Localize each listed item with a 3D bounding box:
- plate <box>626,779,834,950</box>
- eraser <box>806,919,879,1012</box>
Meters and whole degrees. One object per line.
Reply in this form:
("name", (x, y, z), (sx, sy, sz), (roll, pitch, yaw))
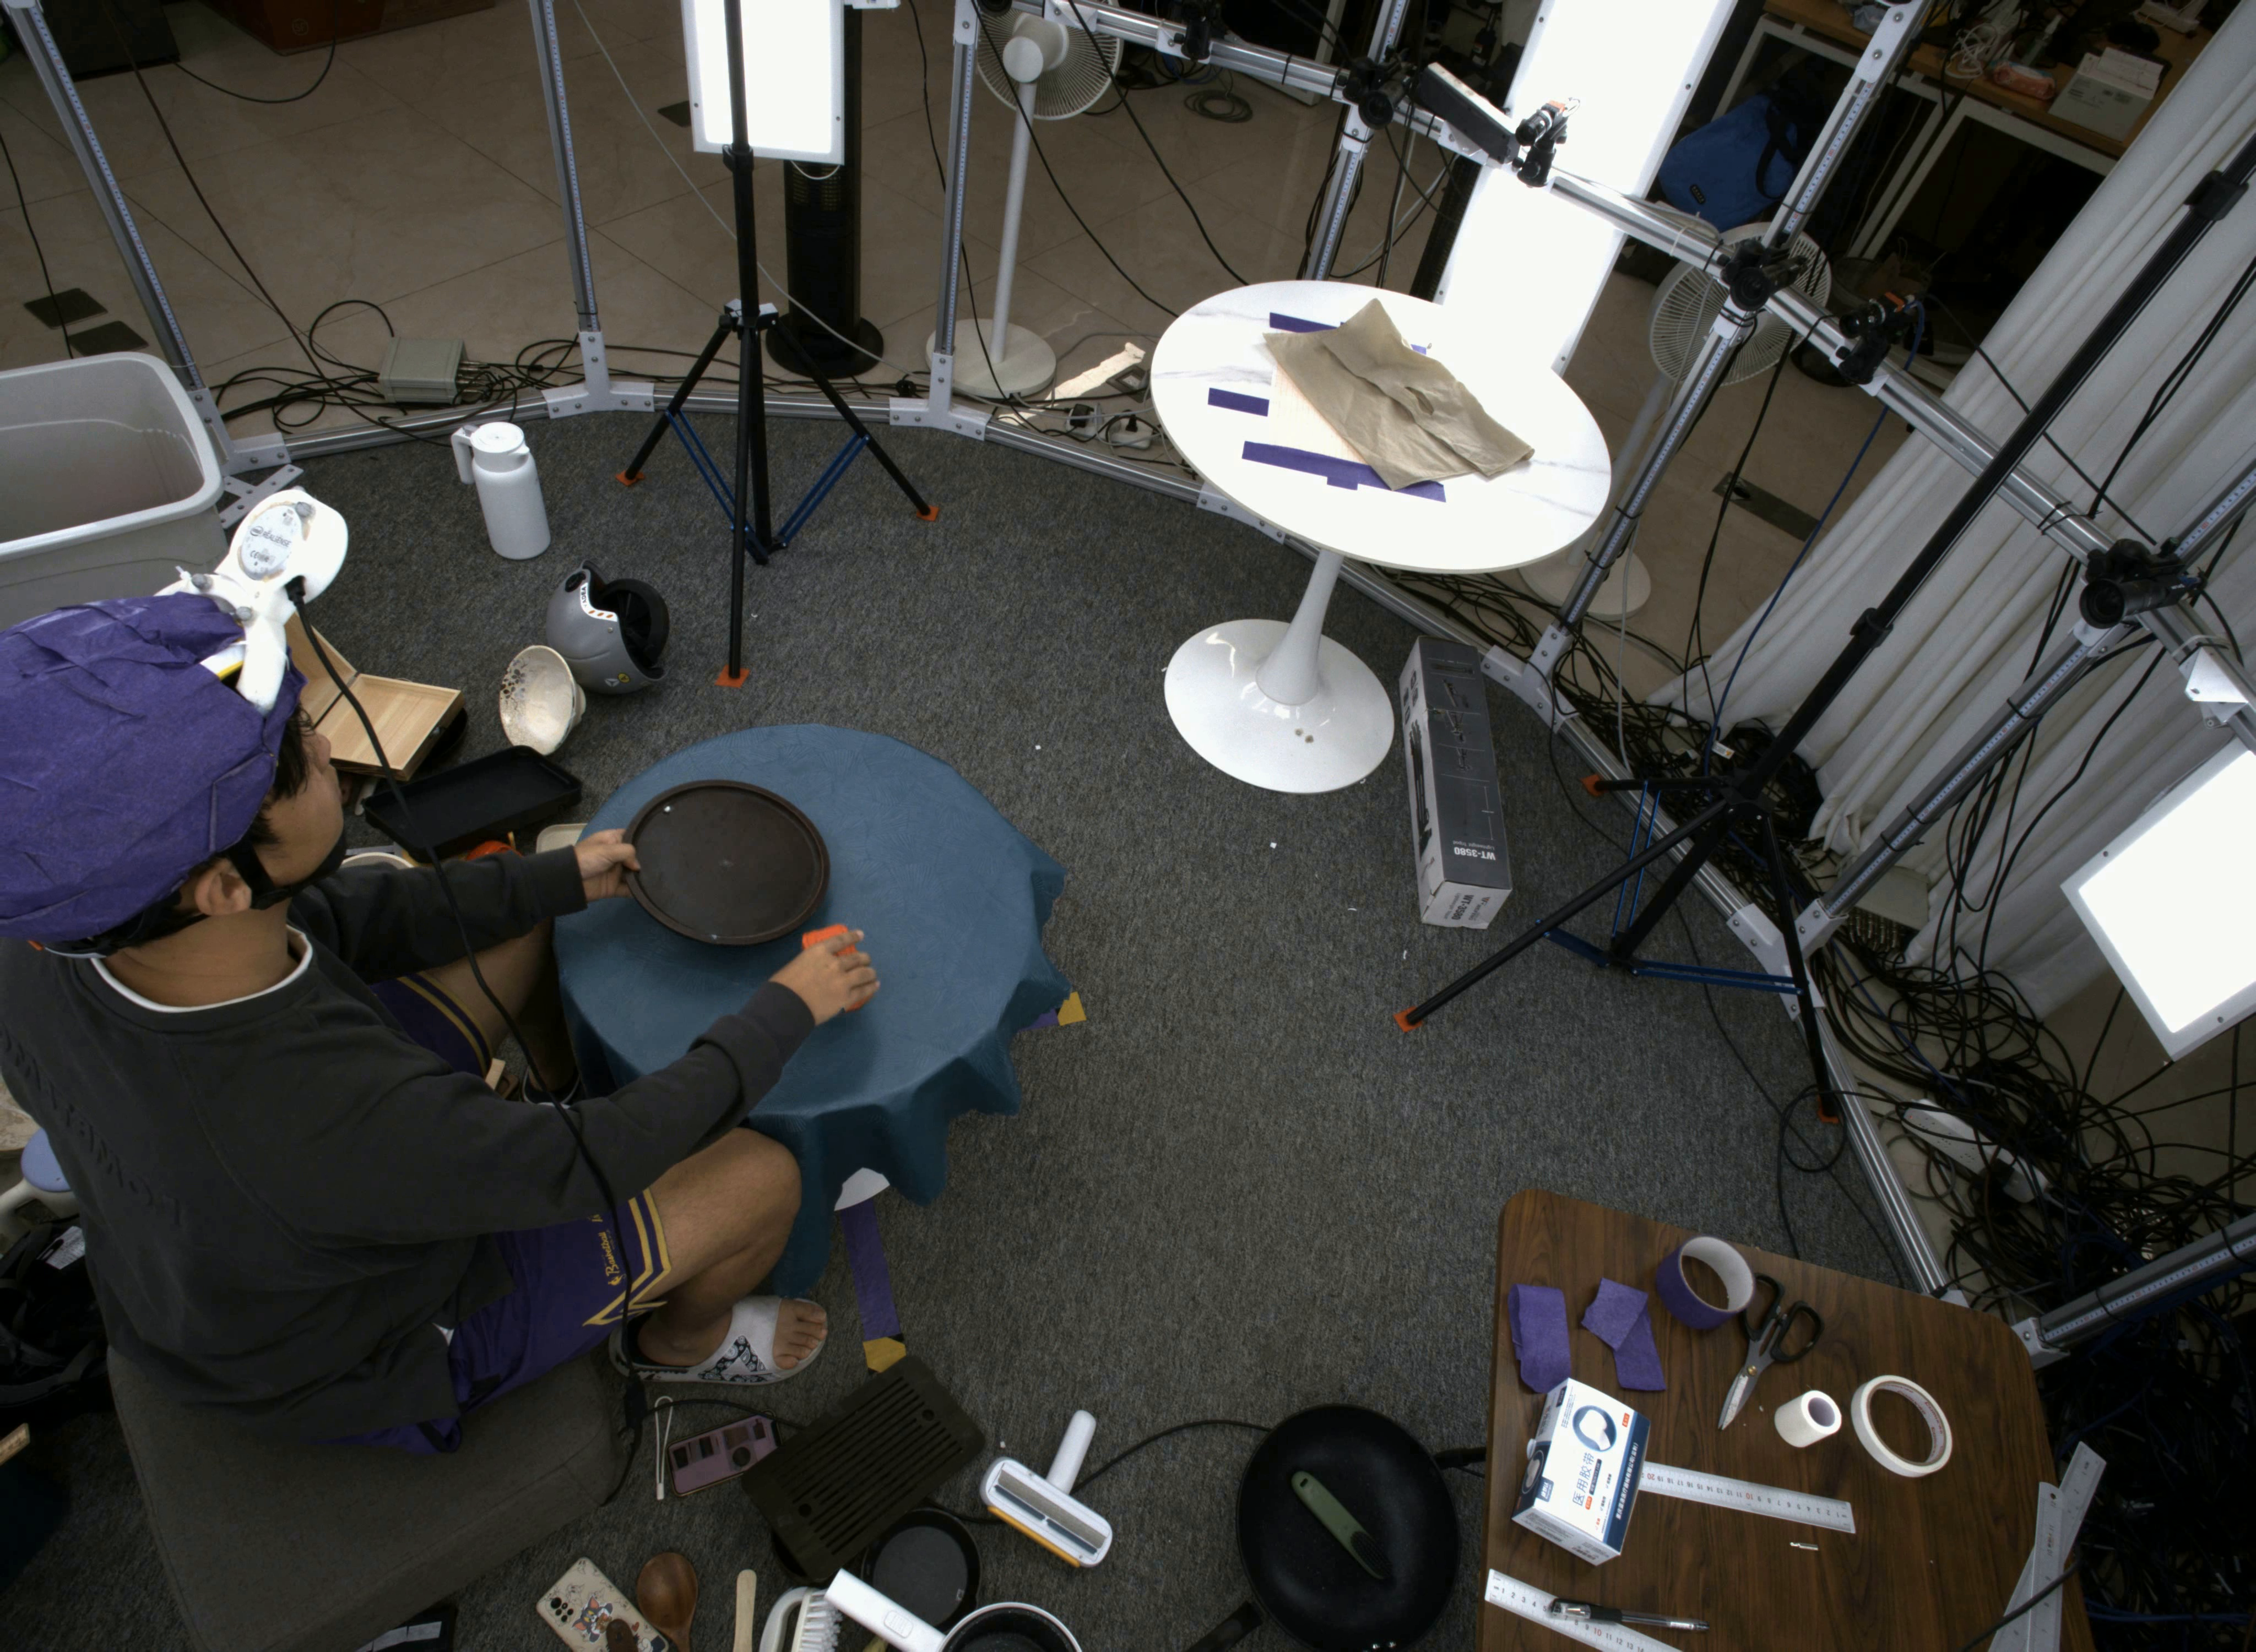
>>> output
("plate", (-0.491, 0.044, 1.597), (0.257, 0.029, 0.250), (17, 49, -18))
("eraser", (-0.338, 0.161, 1.533), (0.059, 0.023, 0.106), (-14, 63, -28))
